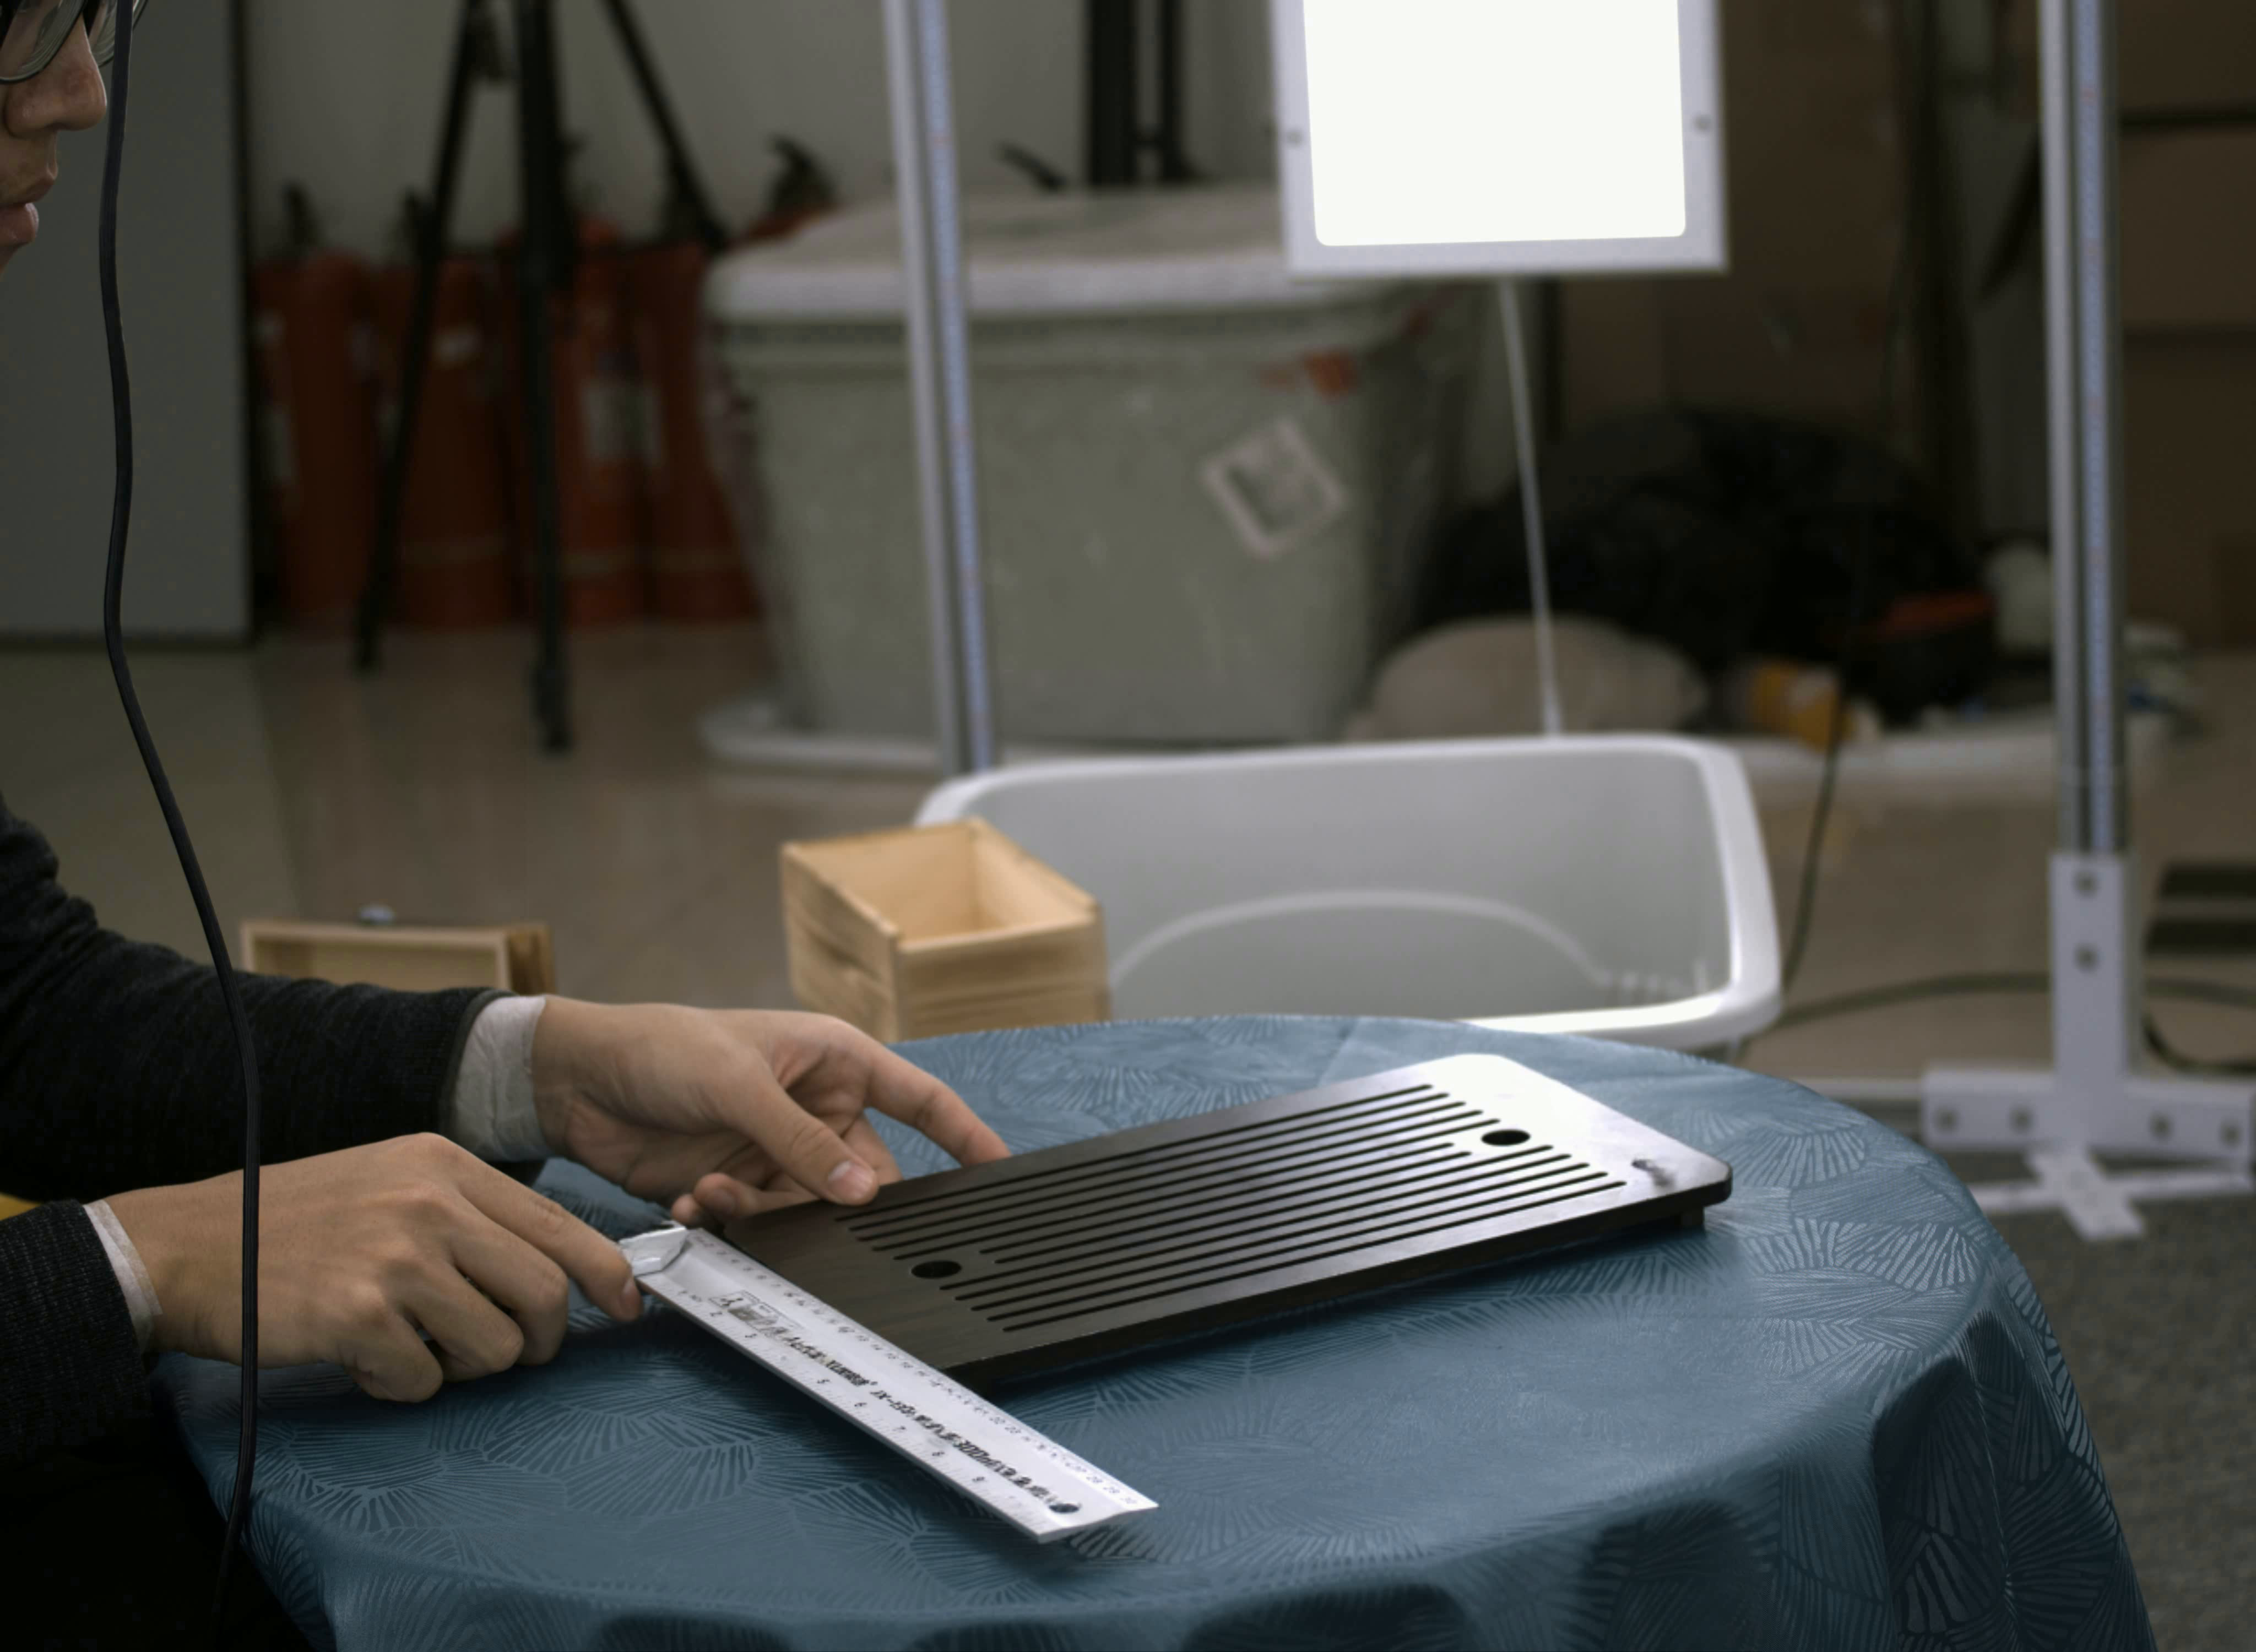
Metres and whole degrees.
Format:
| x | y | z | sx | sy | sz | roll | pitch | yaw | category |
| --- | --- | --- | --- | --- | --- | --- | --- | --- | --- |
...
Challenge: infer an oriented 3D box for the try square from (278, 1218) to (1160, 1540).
| x | y | z | sx | sy | sz | roll | pitch | yaw | category |
| --- | --- | --- | --- | --- | --- | --- | --- | --- | --- |
| -0.132 | 0.176 | 1.669 | 0.149 | 0.016 | 0.318 | -12 | 17 | -26 | try square |

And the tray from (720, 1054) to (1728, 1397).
| x | y | z | sx | sy | sz | roll | pitch | yaw | category |
| --- | --- | --- | --- | --- | --- | --- | --- | --- | --- |
| 0.032 | 0.130 | 1.824 | 0.300 | 0.019 | 0.173 | -11 | 17 | -24 | tray |
